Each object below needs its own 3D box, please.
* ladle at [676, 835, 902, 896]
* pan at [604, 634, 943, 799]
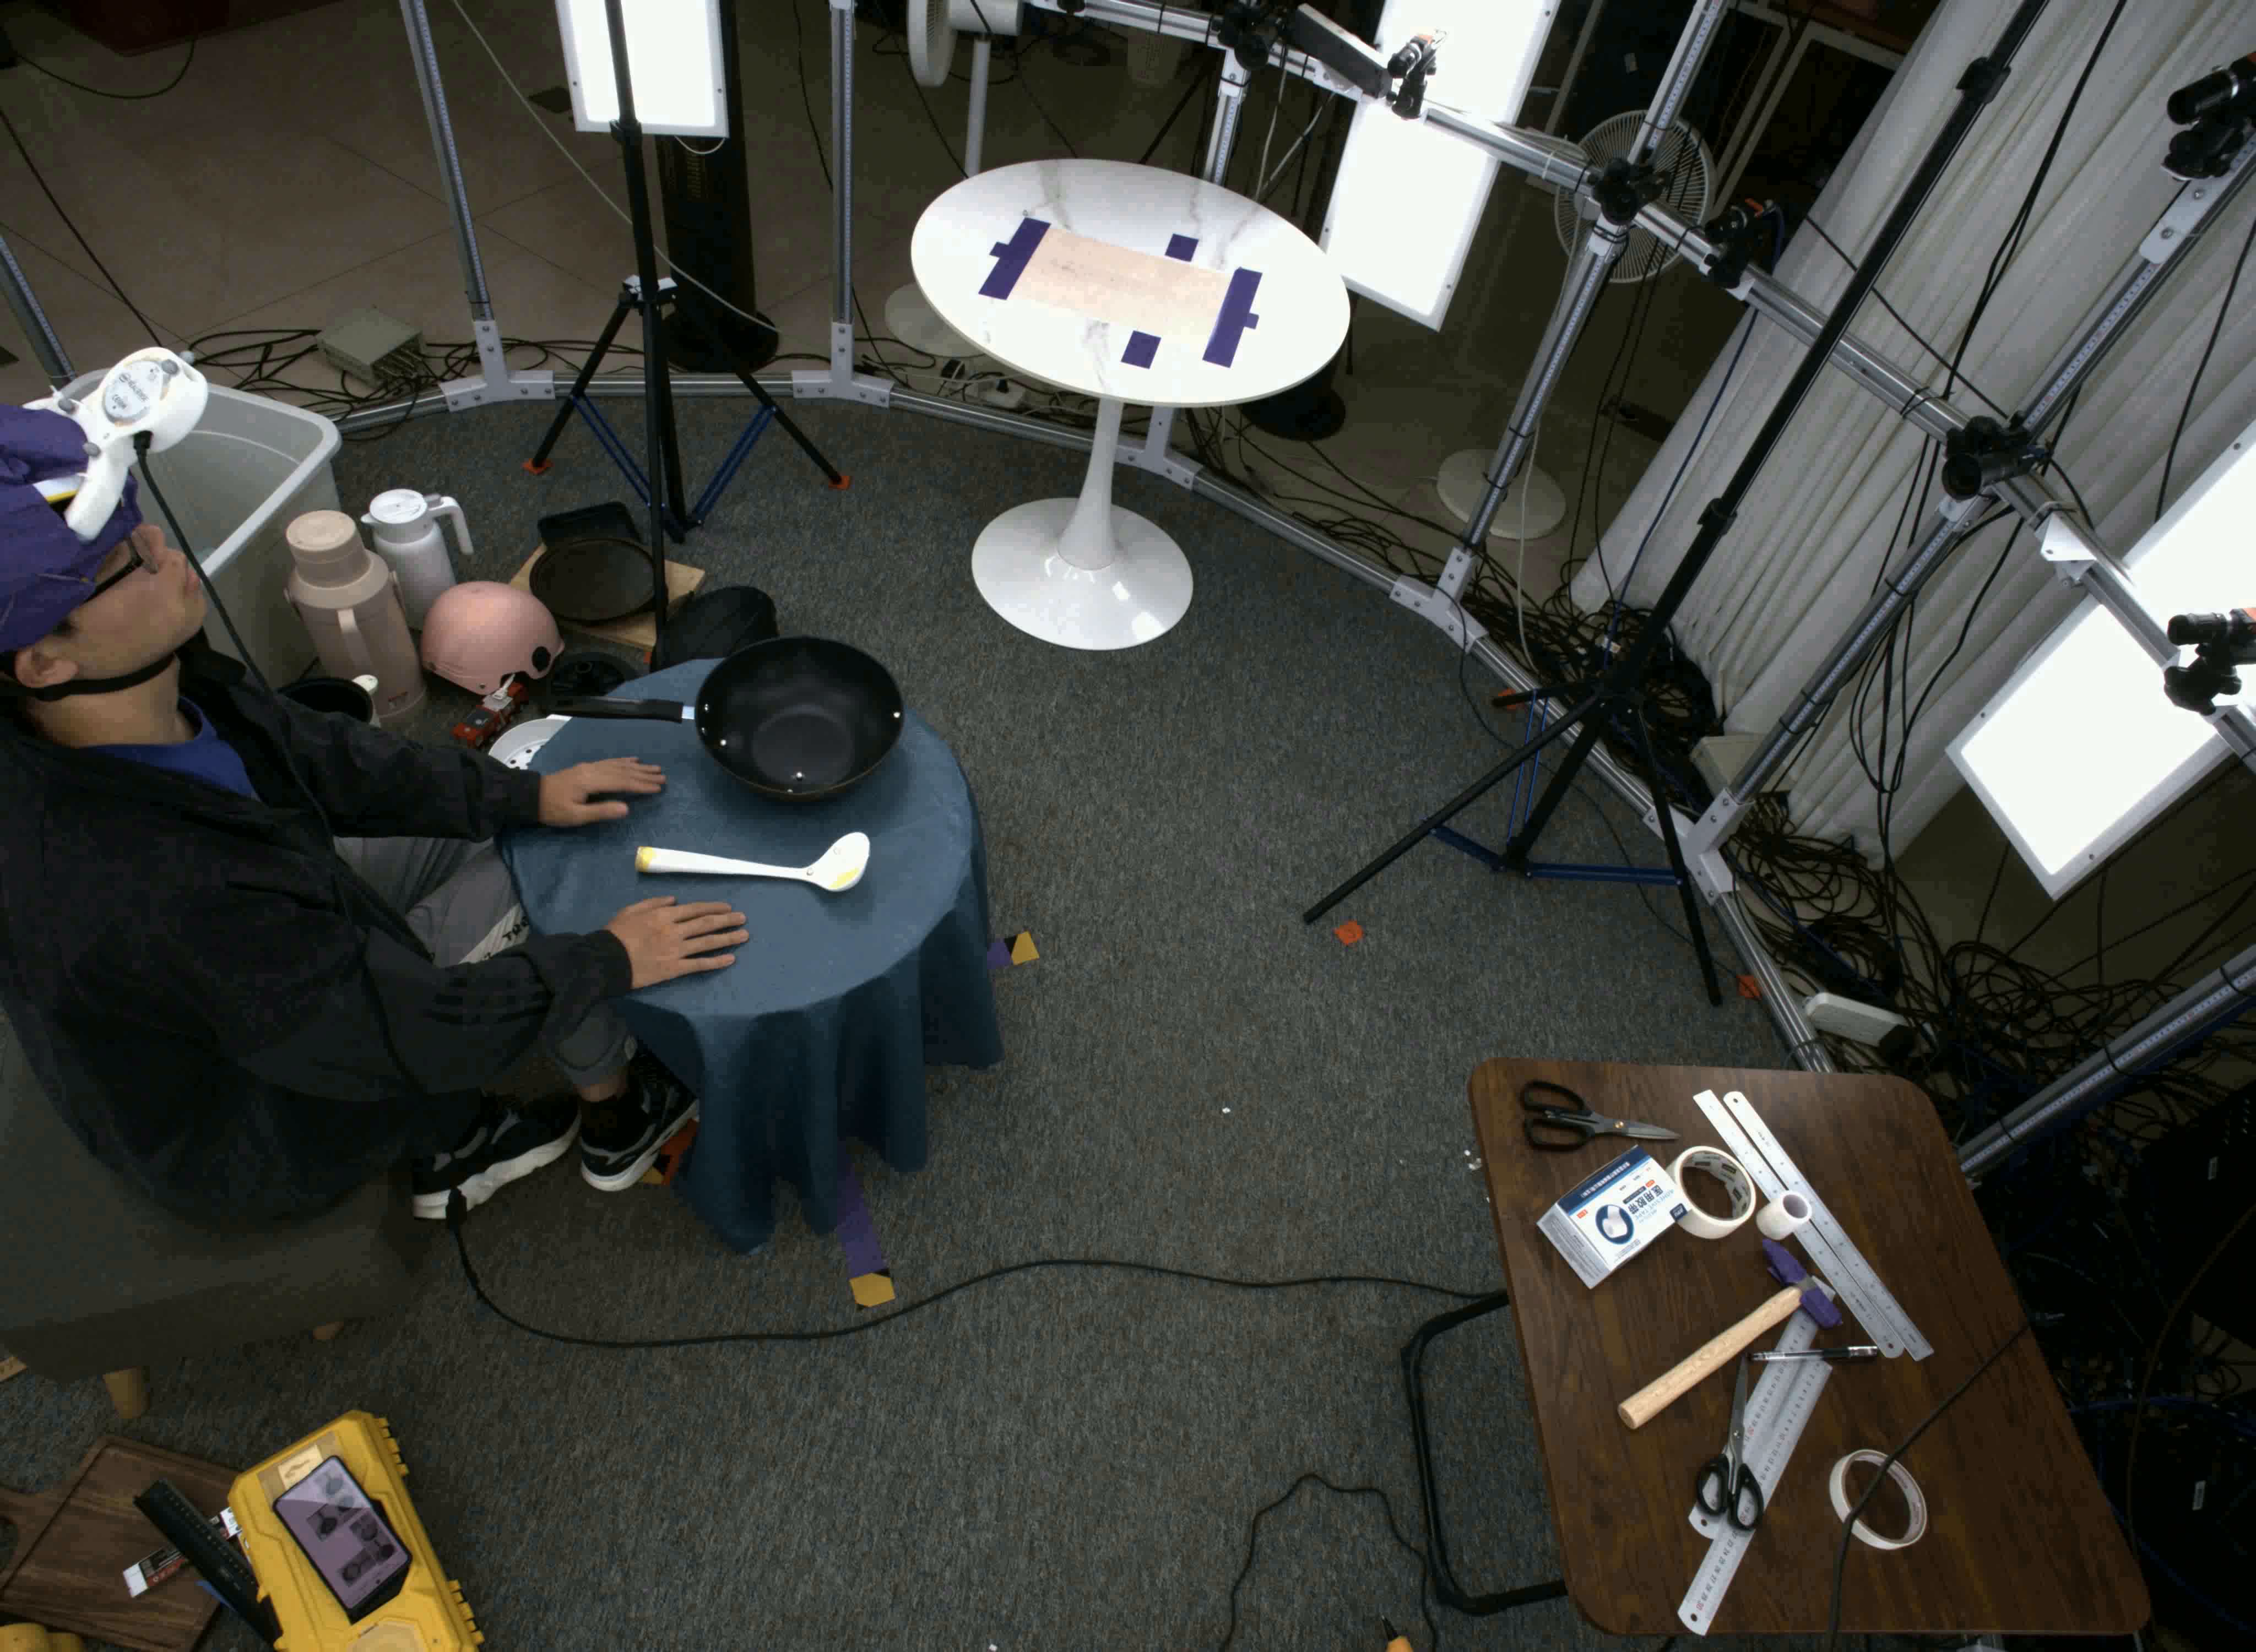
[{"bbox_3d":[-0.435,0.041,1.661,0.292,0.071,0.089,7,55,-7],"label":"ladle"},{"bbox_3d":[-0.486,-0.140,1.771,0.463,0.089,0.282,2,53,-11],"label":"pan"}]
